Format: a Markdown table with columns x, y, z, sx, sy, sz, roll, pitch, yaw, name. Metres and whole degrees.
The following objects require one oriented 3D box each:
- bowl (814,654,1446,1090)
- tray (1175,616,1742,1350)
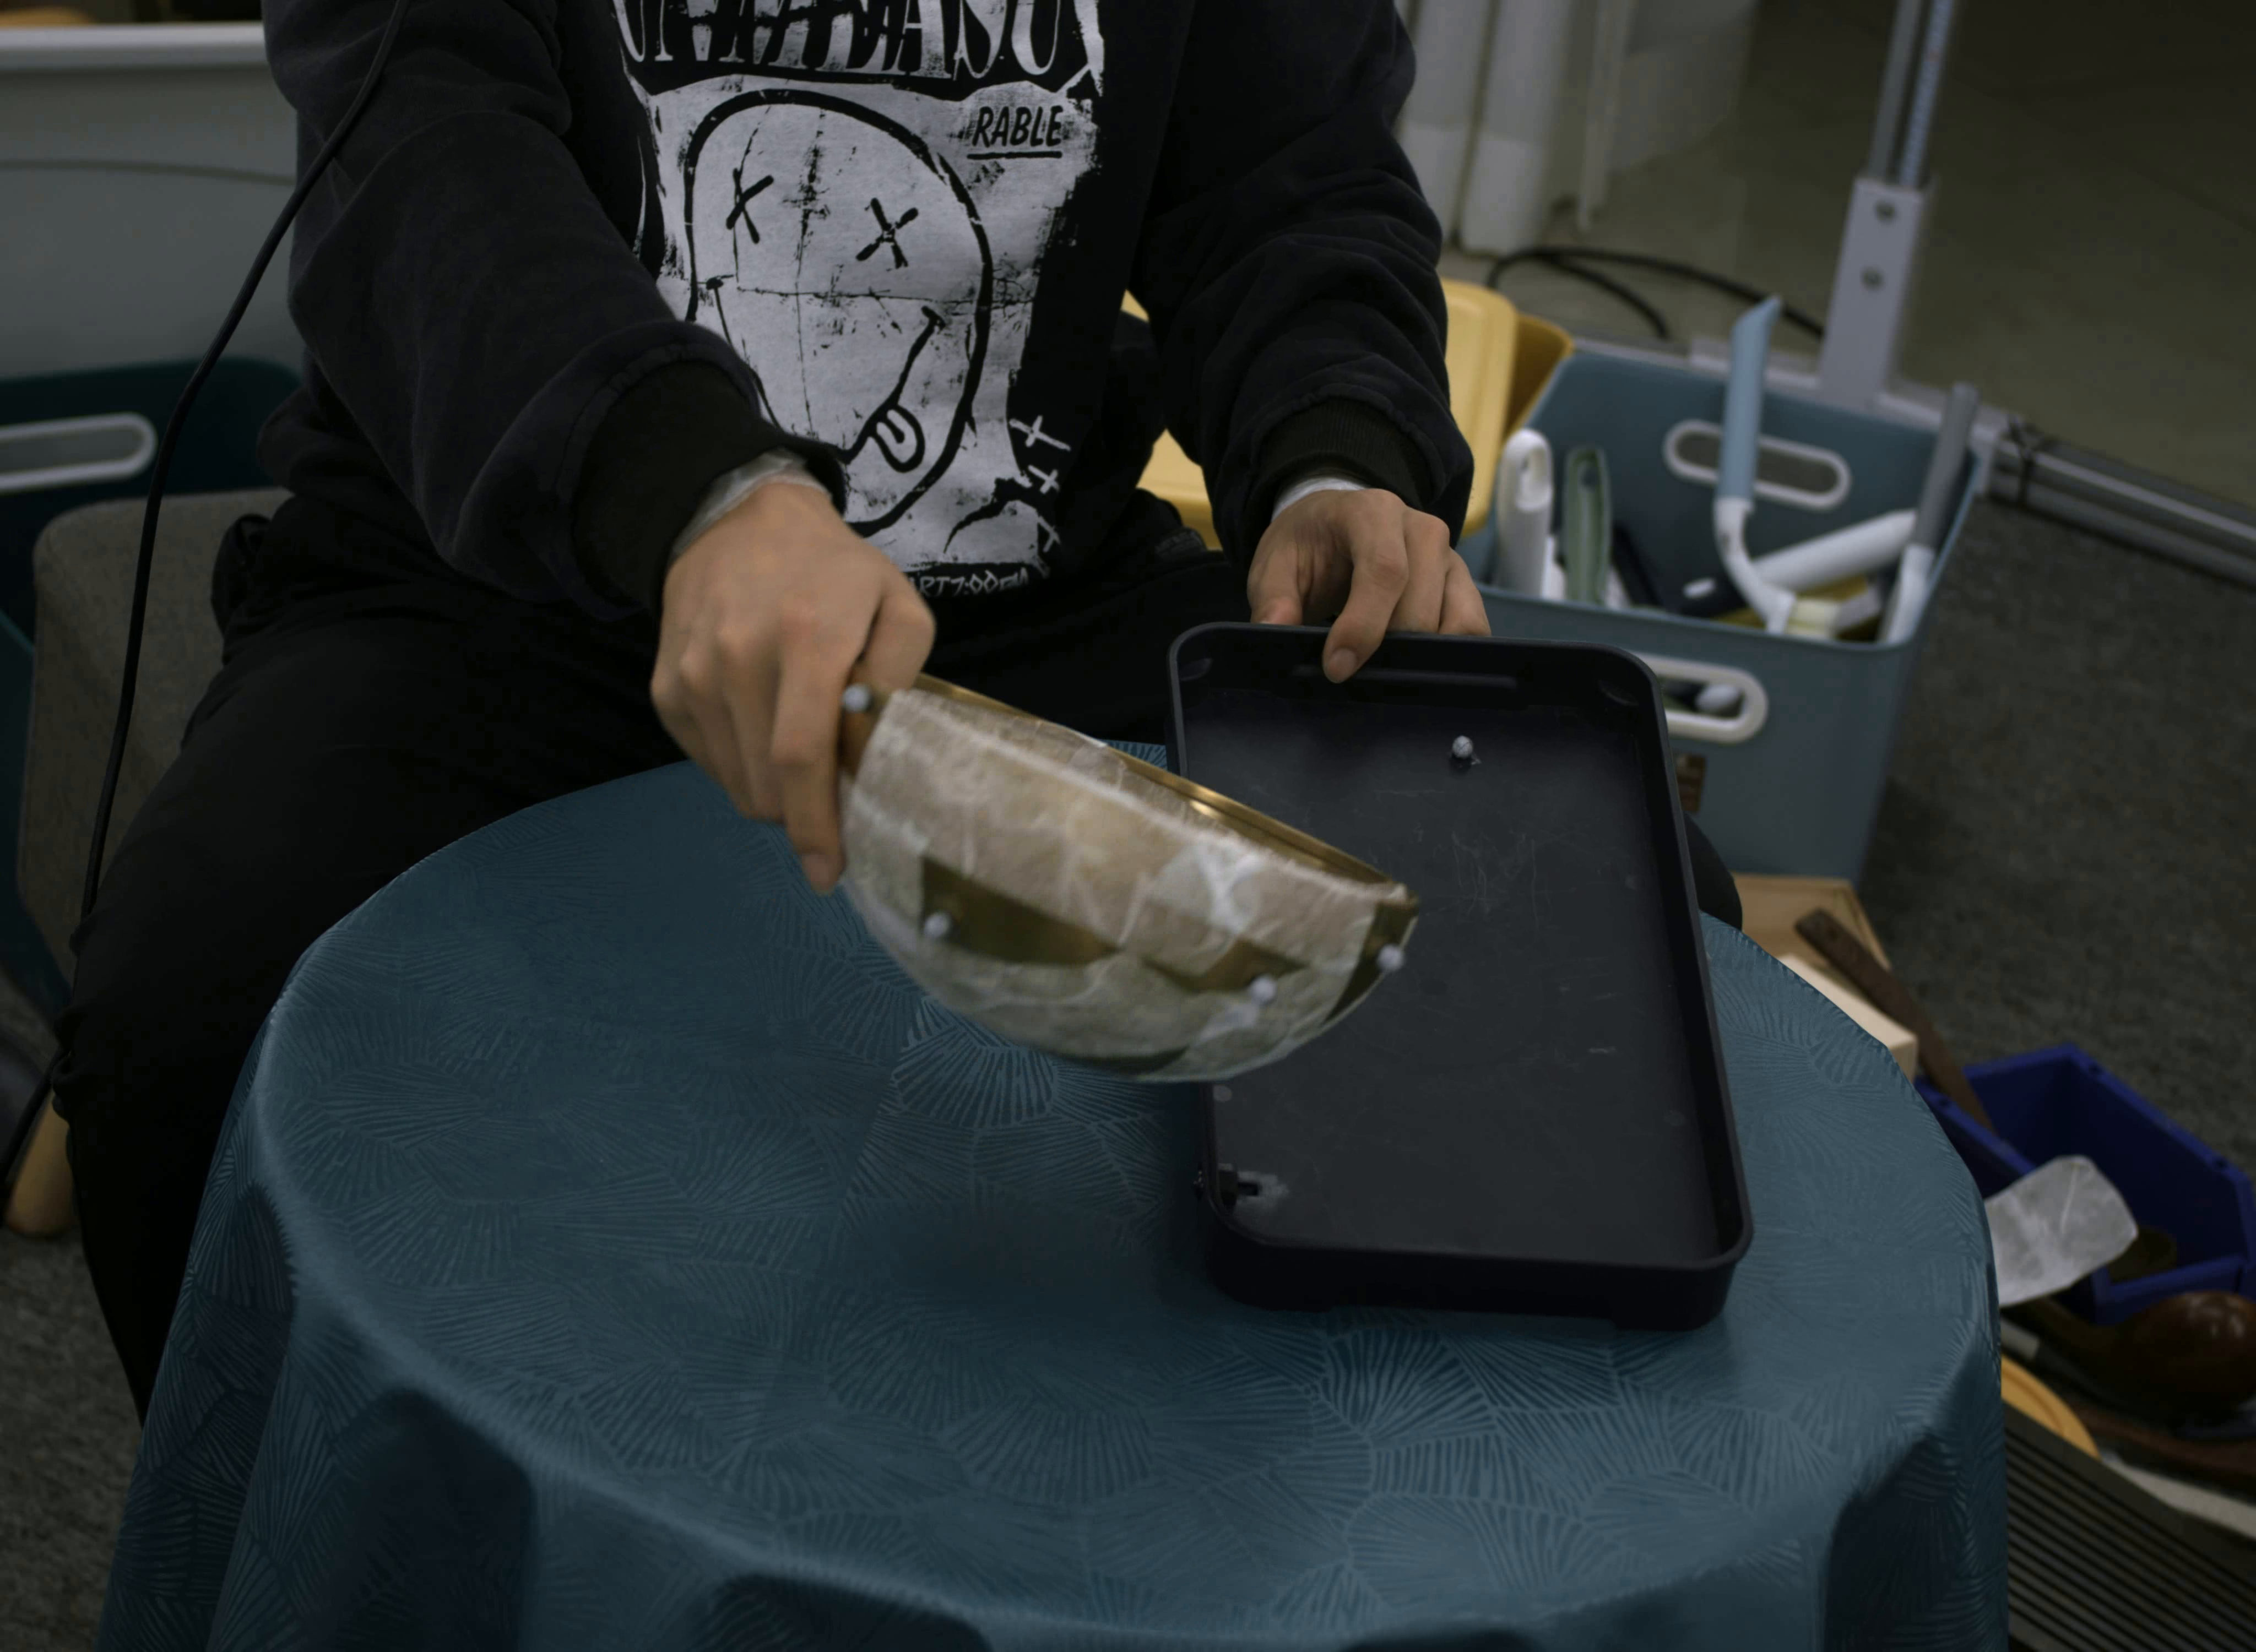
| x | y | z | sx | sy | sz | roll | pitch | yaw | name |
| --- | --- | --- | --- | --- | --- | --- | --- | --- | --- |
| -0.015 | 0.028 | 1.701 | 0.214 | 0.094 | 0.215 | 22 | 5 | -2 | bowl |
| 0.108 | 0.049 | 1.856 | 0.183 | 0.037 | 0.320 | 5 | 43 | -5 | tray |
